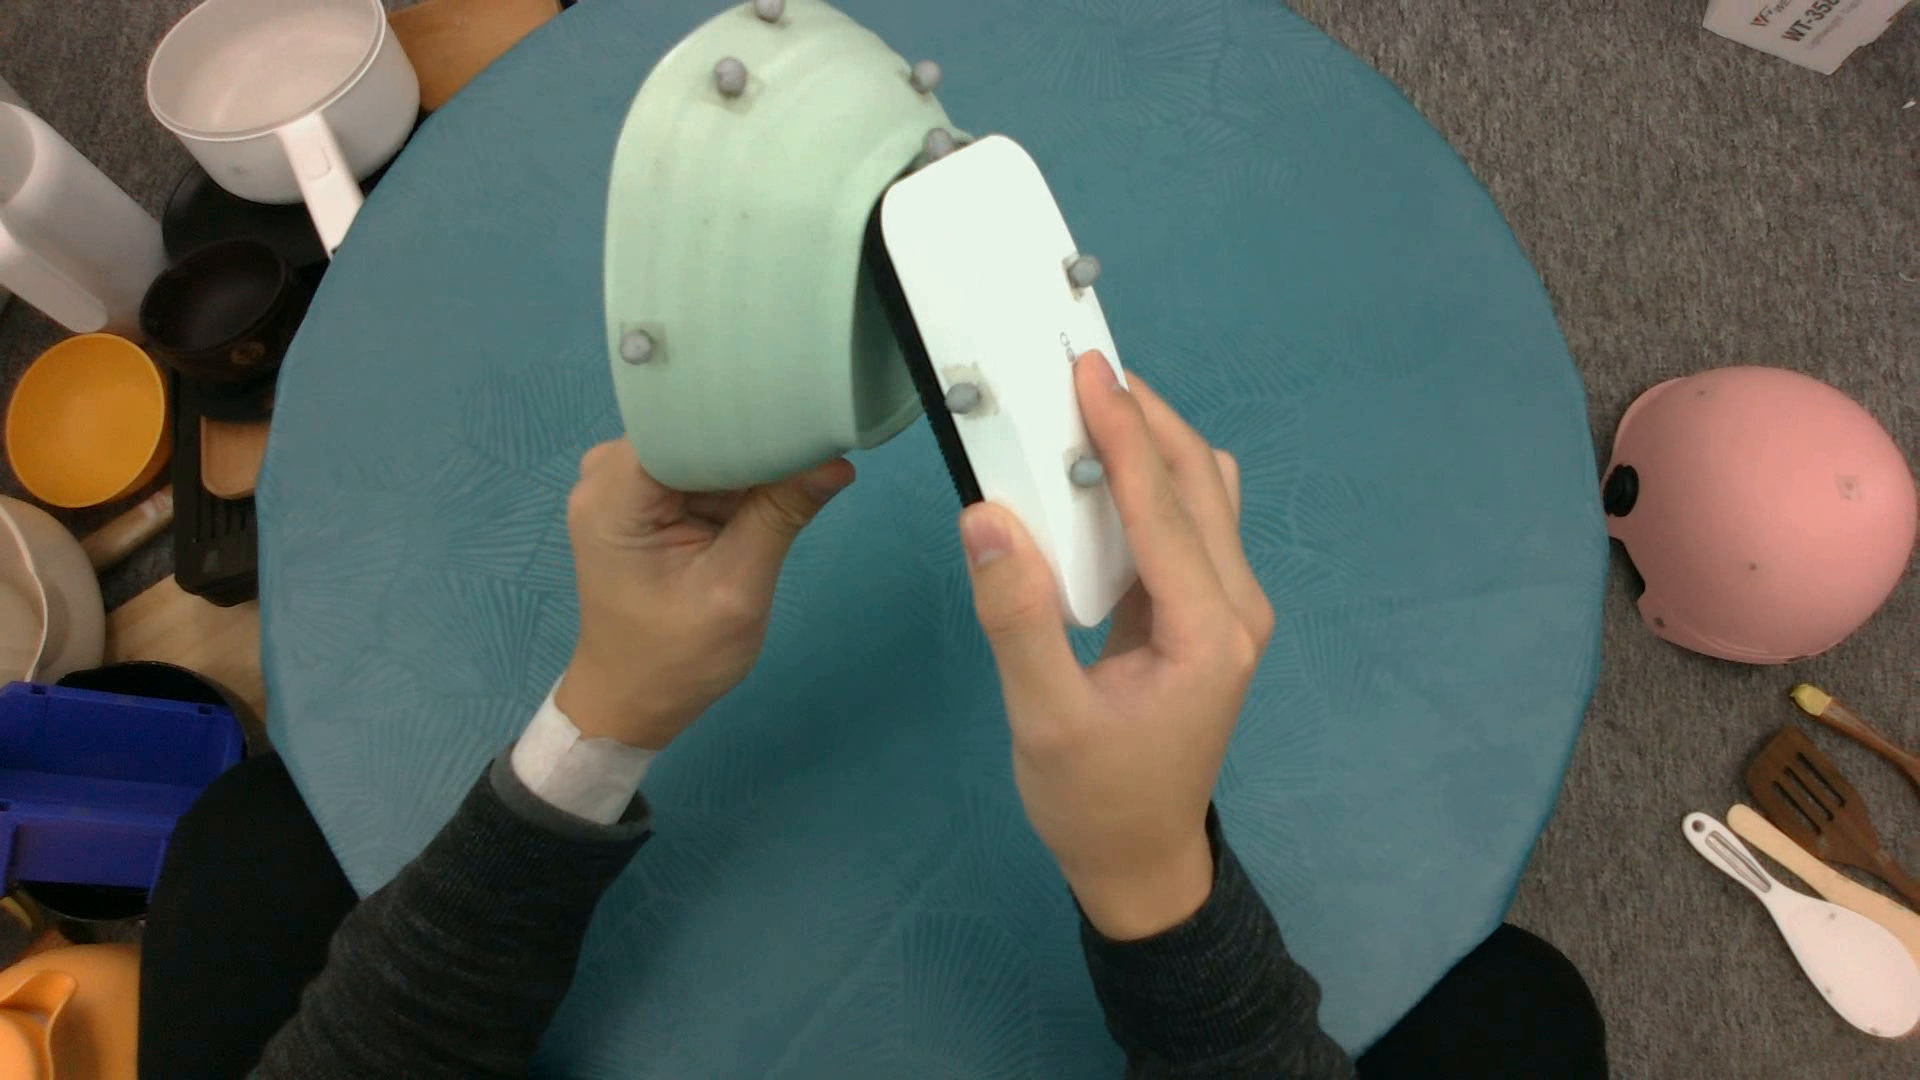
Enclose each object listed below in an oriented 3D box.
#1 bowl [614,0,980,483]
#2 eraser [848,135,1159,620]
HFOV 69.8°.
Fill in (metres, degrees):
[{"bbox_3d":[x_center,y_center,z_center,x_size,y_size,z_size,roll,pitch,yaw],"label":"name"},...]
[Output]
[{"bbox_3d":[-0.037,-0.081,0.407,0.058,0.151,0.152,19,74,18],"label":"bowl"},{"bbox_3d":[0.016,-0.043,0.381,0.064,0.034,0.131,-41,113,-48],"label":"eraser"}]
